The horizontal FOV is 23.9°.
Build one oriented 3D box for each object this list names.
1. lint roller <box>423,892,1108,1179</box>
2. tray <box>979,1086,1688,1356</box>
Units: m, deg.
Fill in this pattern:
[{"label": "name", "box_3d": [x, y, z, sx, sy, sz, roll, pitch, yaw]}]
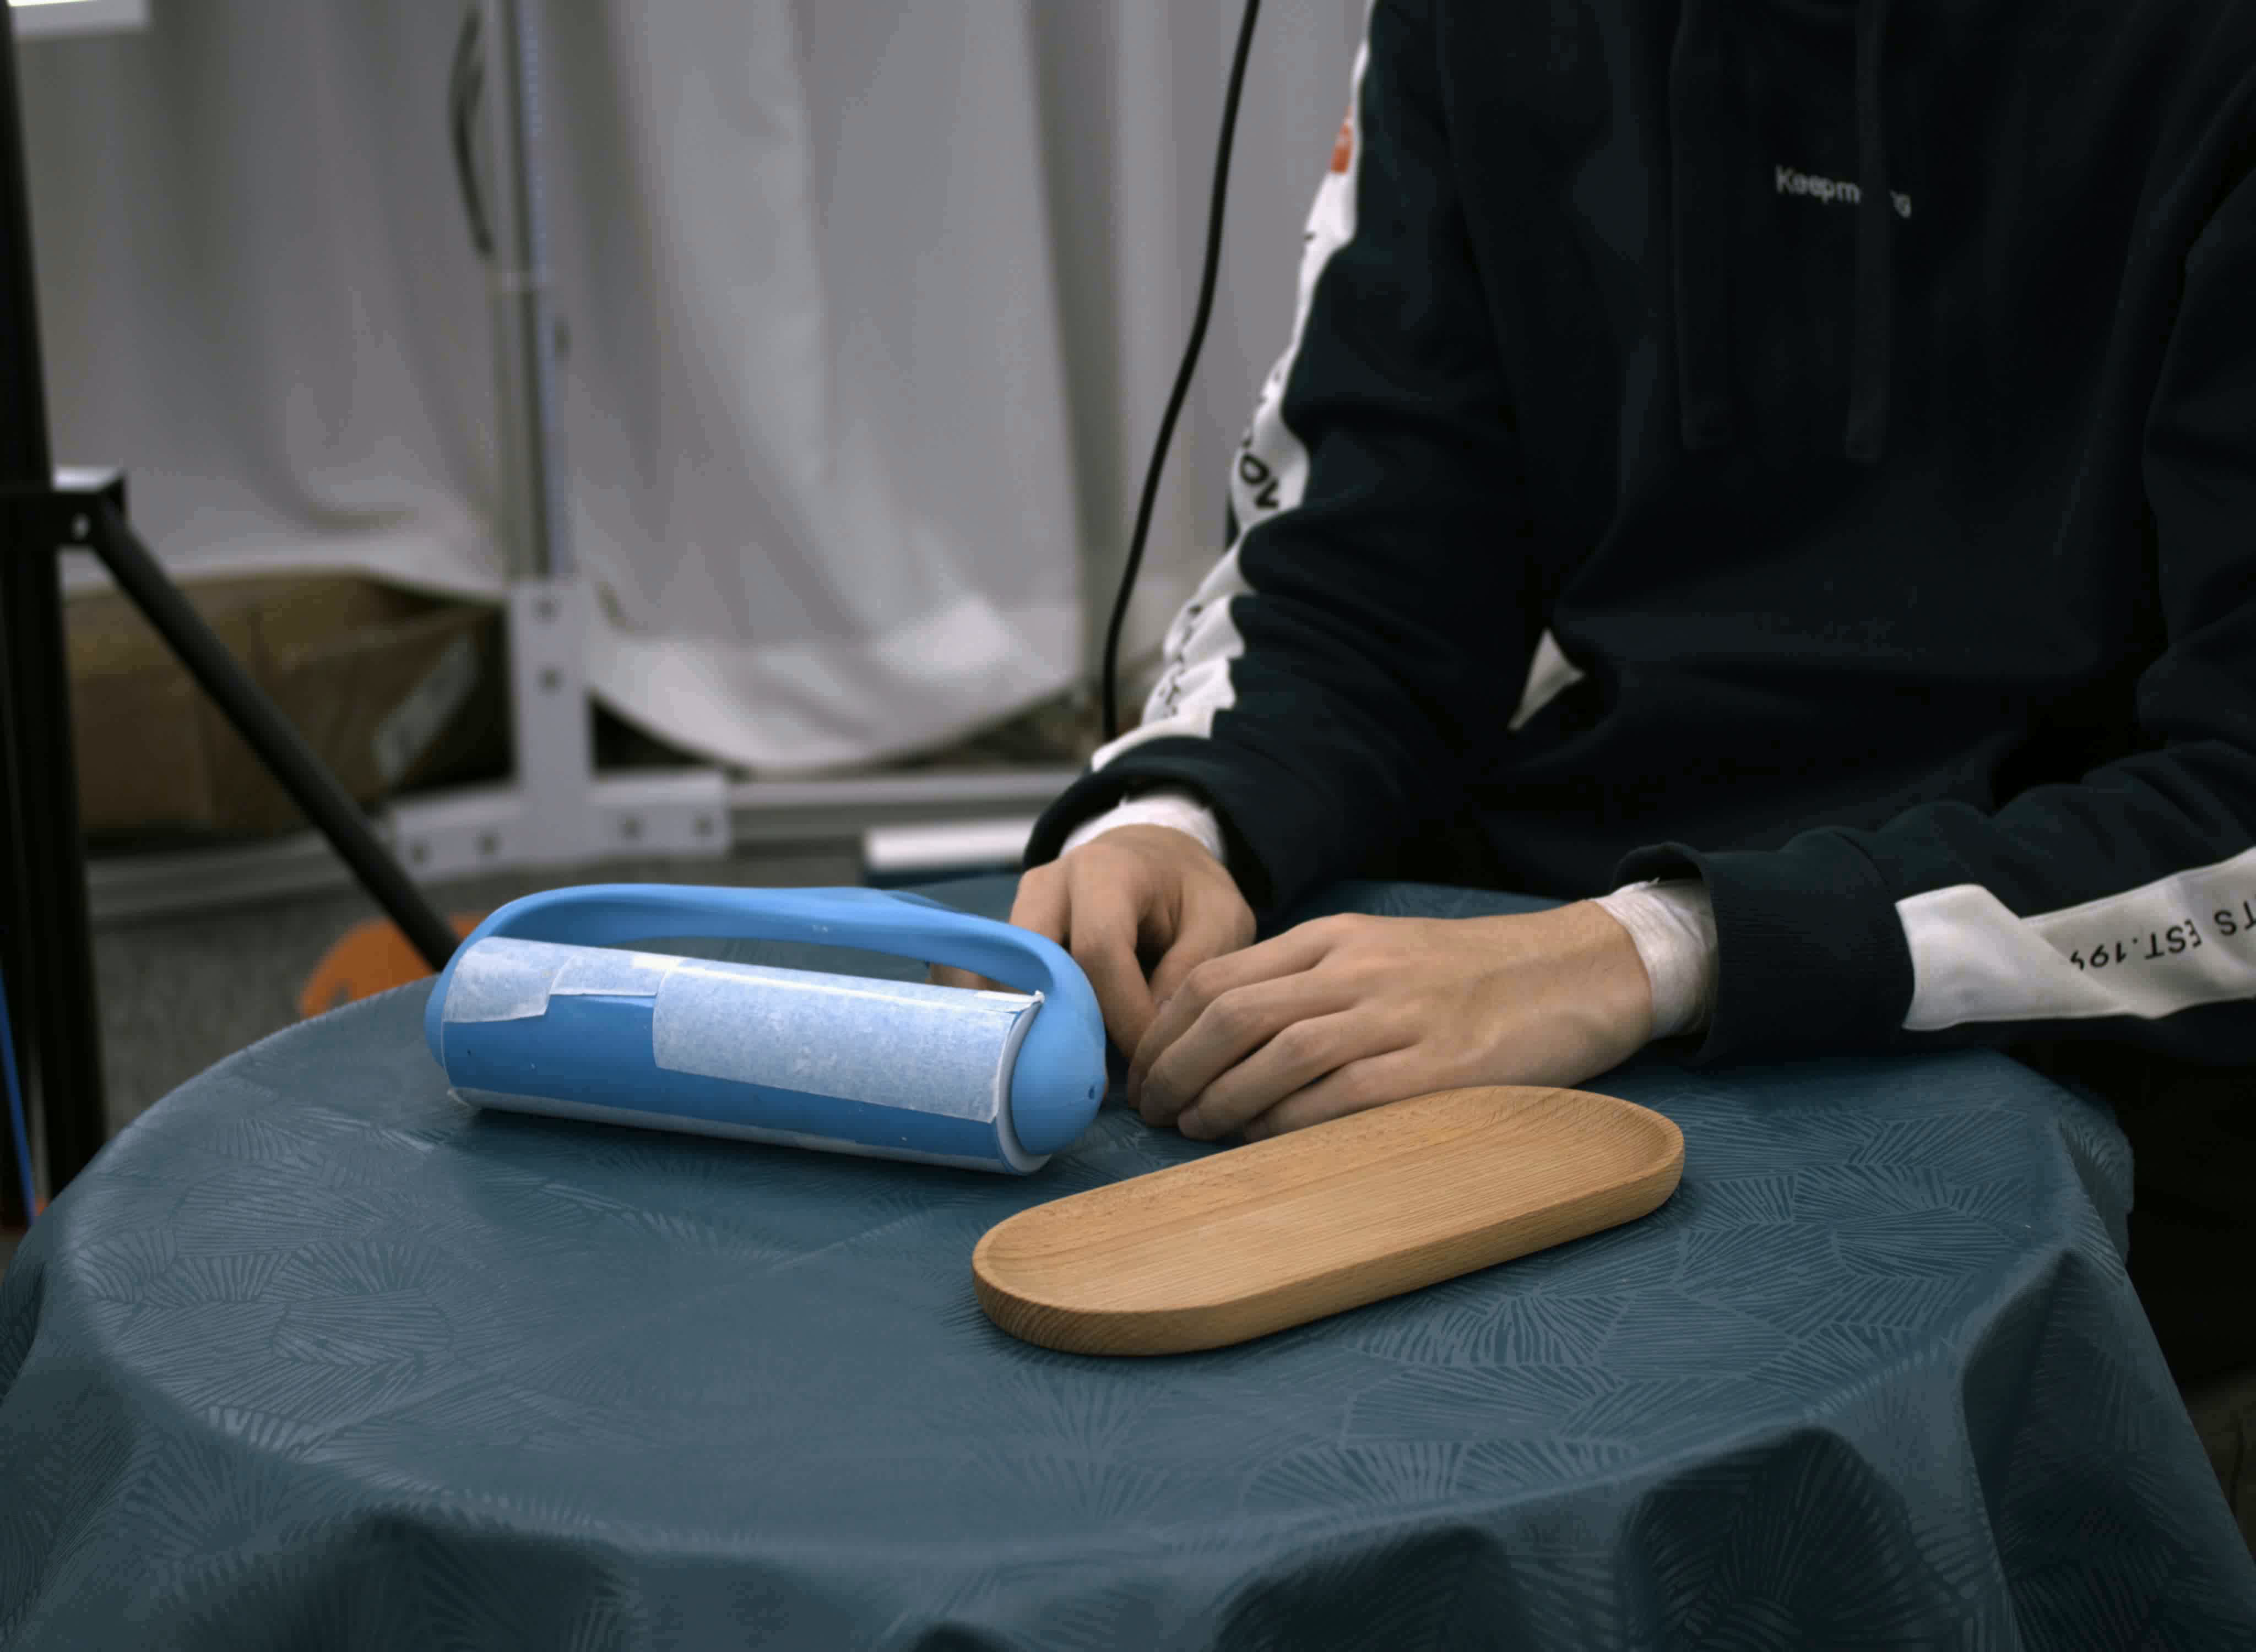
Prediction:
[{"label": "lint roller", "box_3d": [-0.090, 0.052, 1.666, 0.232, 0.068, 0.178, 3, 18, 24]}, {"label": "tray", "box_3d": [0.061, 0.111, 1.507, 0.226, 0.020, 0.104, -12, 19, -35]}]
